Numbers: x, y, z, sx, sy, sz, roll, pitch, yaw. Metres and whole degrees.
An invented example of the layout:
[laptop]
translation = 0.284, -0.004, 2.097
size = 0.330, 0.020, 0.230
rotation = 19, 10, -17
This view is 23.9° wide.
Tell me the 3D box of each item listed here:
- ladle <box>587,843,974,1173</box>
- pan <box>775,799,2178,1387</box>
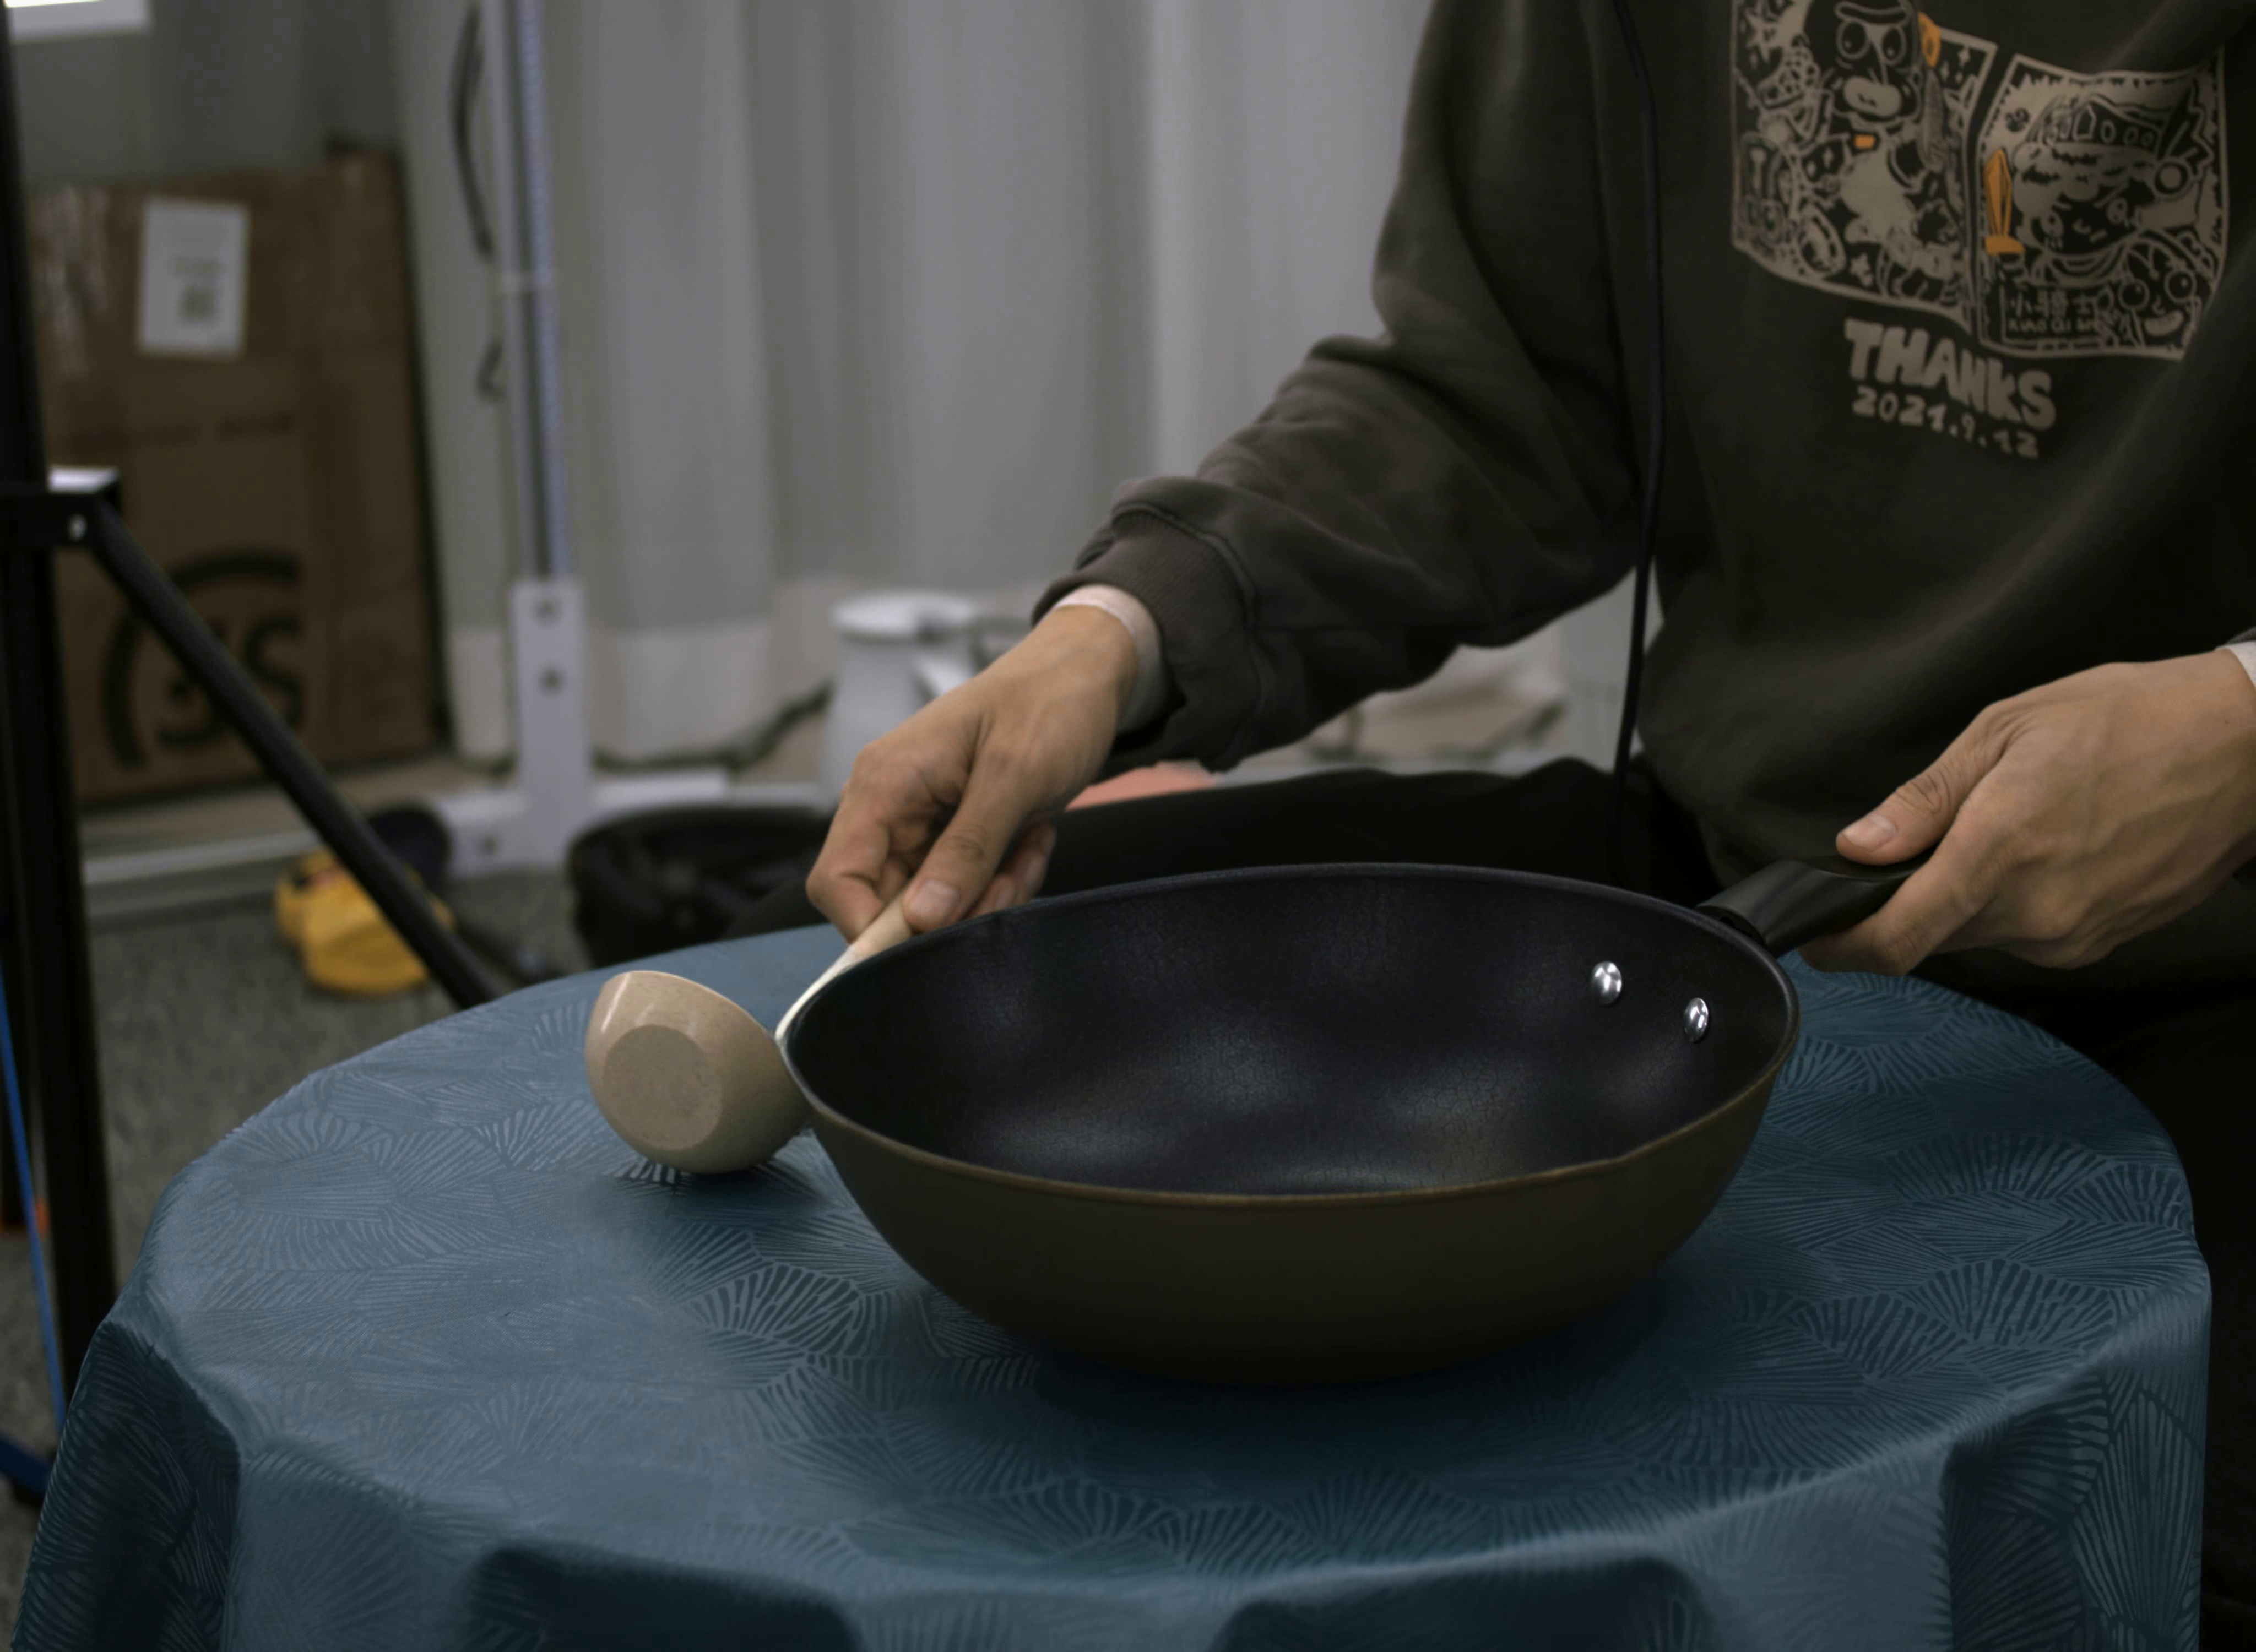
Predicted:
[ladle]
translation = -0.093, 0.029, 1.673
size = 0.073, 0.073, 0.252
rotation = 18, 30, 13
[pan]
translation = 0.120, 0.071, 1.510
size = 0.453, 0.087, 0.294
rotation = -13, 19, -30
